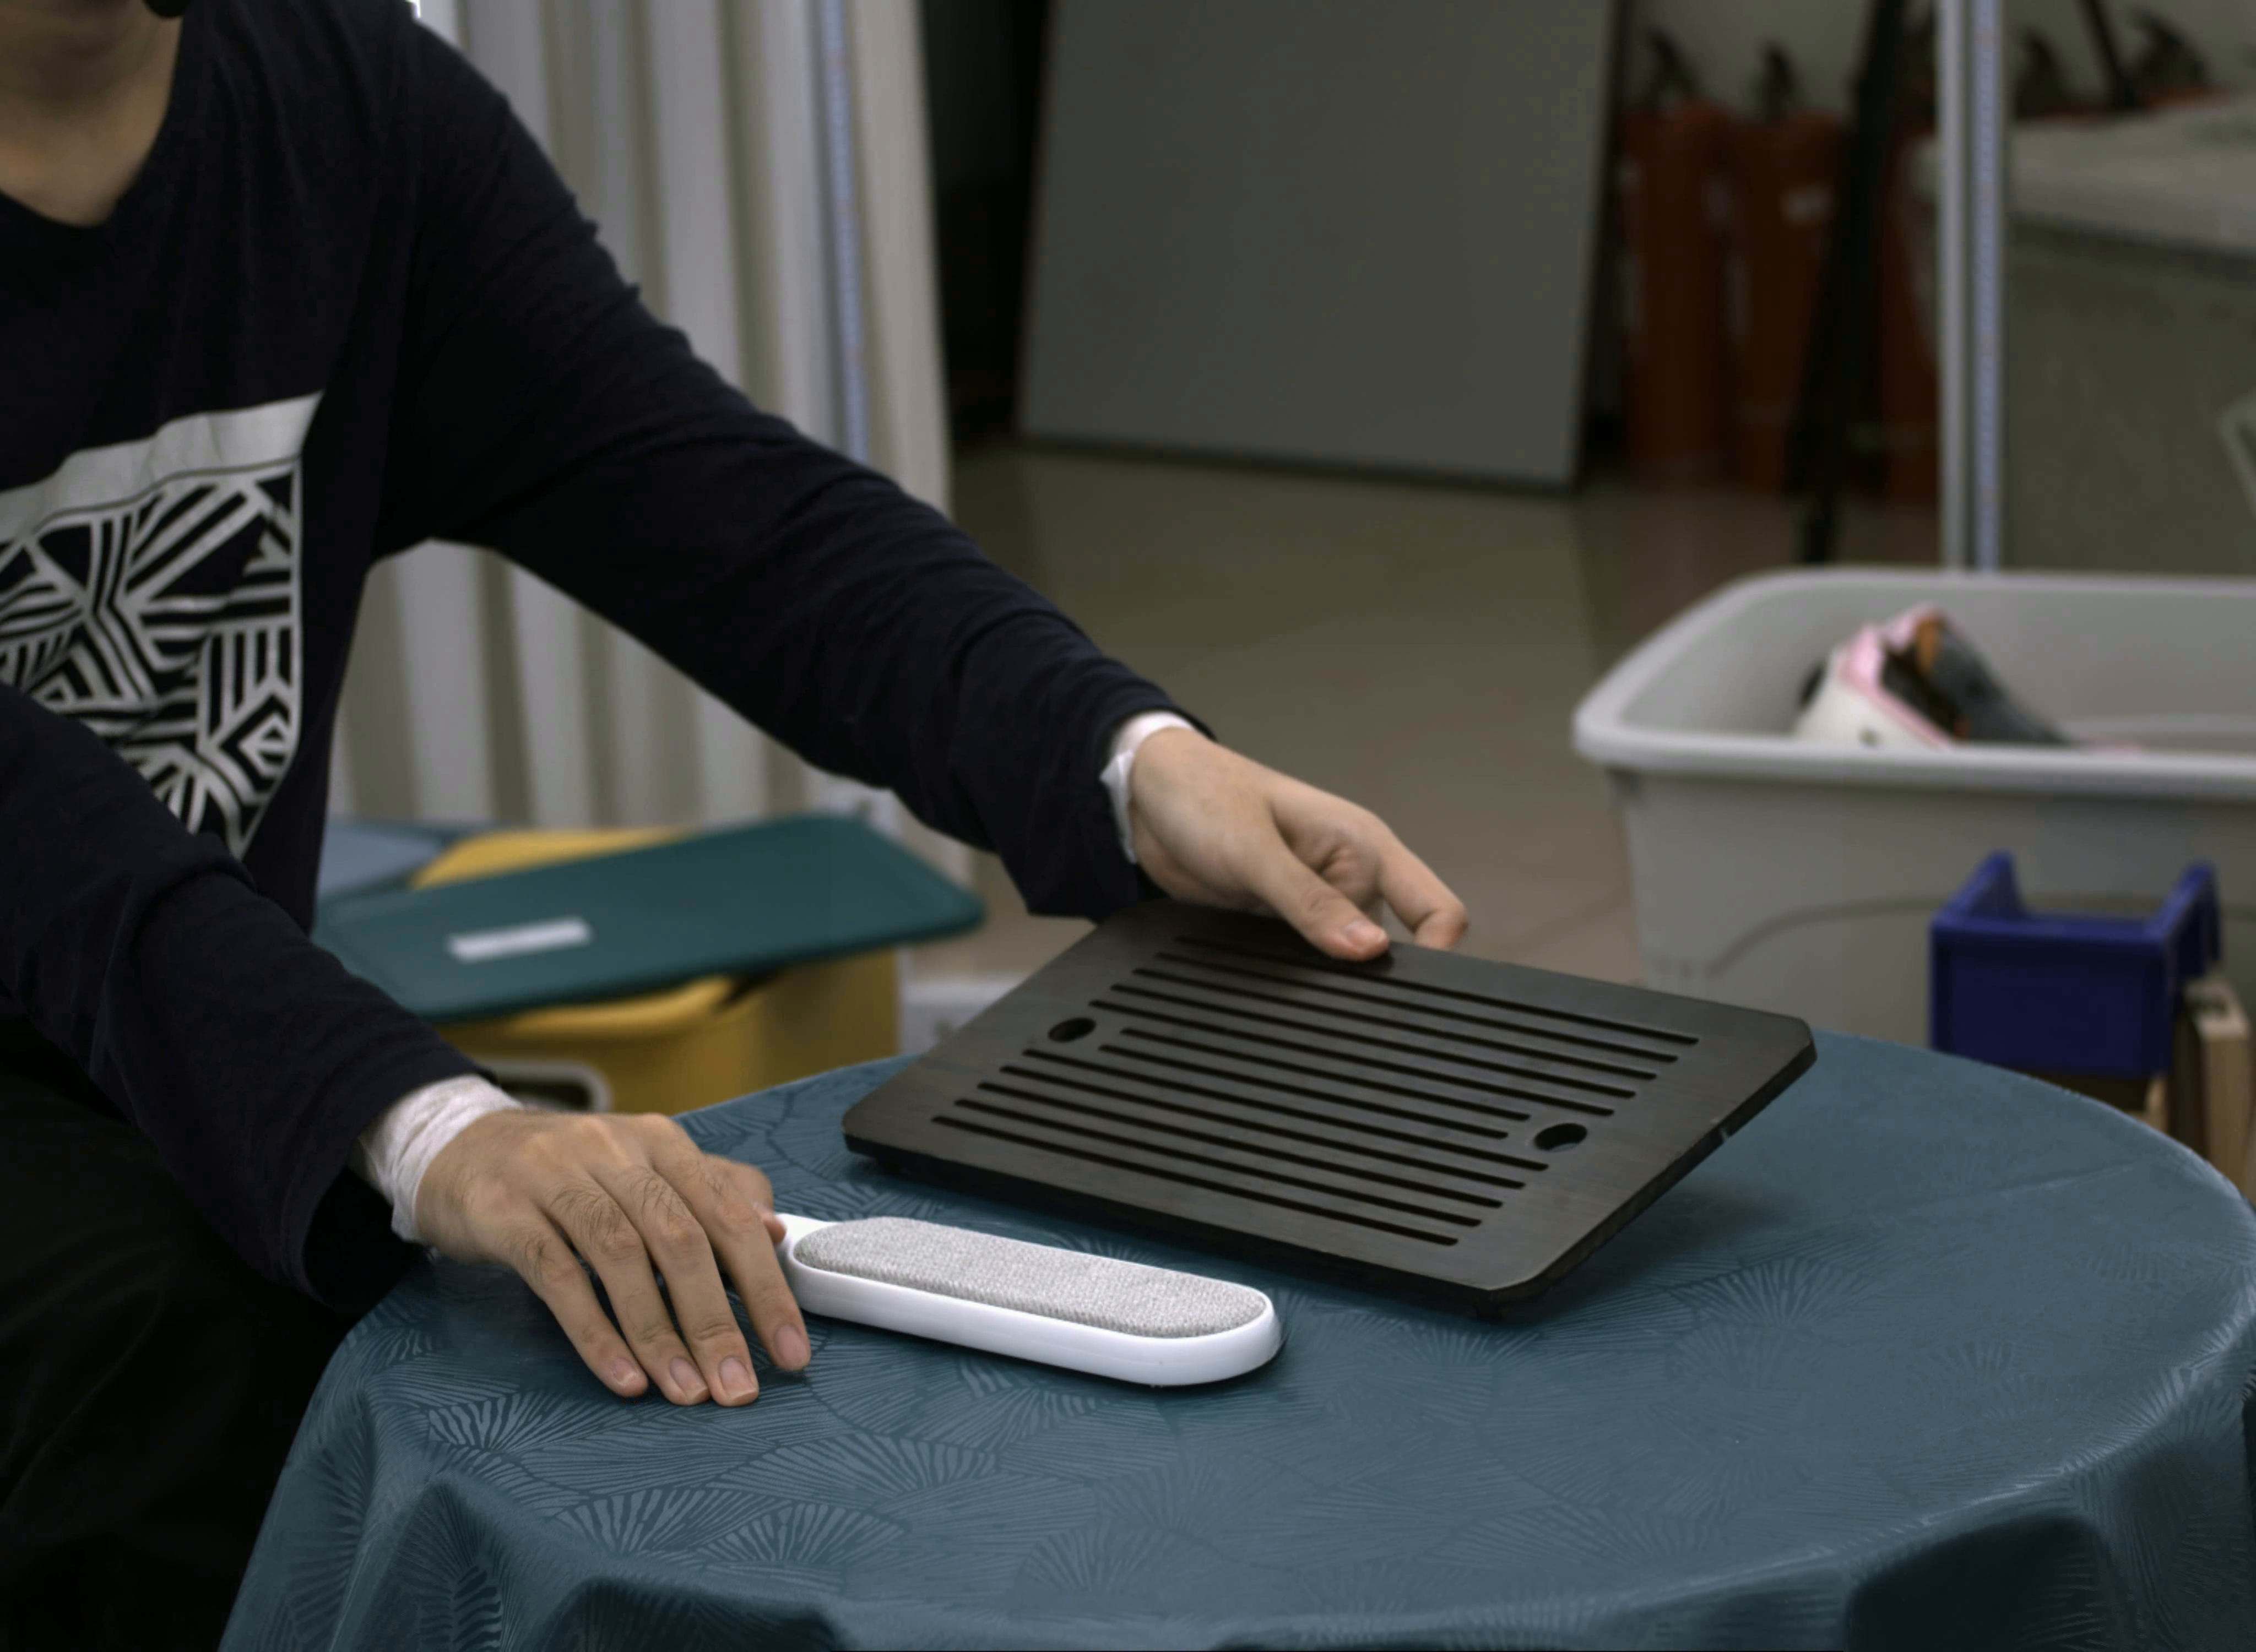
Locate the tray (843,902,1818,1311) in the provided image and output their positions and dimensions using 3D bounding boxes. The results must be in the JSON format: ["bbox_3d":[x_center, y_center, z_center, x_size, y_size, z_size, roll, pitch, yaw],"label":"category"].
[{"bbox_3d":[0.063,0.089,1.766,0.308,0.019,0.168,8,34,44],"label":"tray"}]

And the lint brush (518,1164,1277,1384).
[{"bbox_3d":[-0.079,0.136,1.682,0.311,0.021,0.059,8,23,40],"label":"lint brush"}]
